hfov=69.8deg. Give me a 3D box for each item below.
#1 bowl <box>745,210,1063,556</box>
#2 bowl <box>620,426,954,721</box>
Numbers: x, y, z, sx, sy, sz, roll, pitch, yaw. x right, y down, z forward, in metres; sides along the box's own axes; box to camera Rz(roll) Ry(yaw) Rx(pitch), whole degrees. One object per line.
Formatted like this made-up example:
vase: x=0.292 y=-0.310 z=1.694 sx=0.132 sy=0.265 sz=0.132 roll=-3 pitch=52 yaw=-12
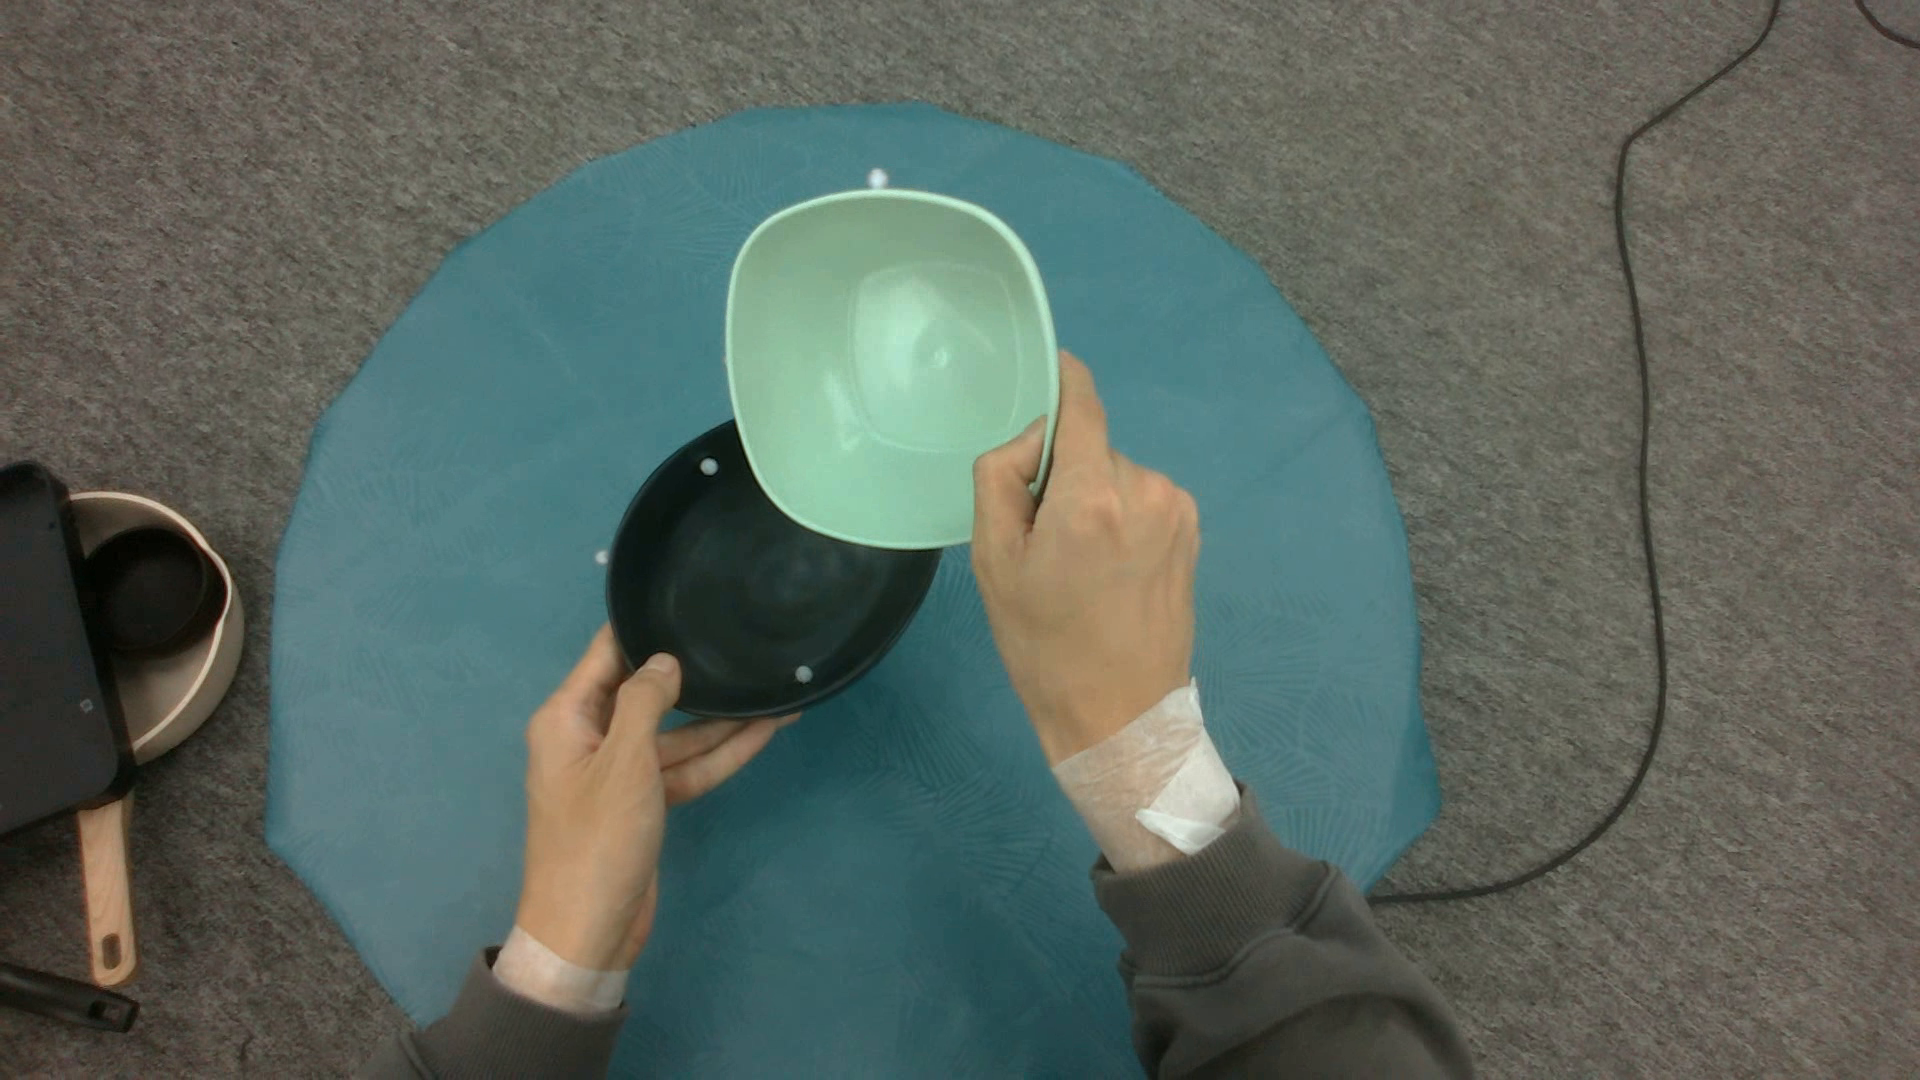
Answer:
bowl: x=-0.015 y=-0.068 z=0.569 sx=0.151 sy=0.059 sz=0.151 roll=8 pitch=111 yaw=22
bowl: x=-0.080 y=0.017 z=0.665 sx=0.137 sy=0.066 sz=0.171 roll=42 pitch=72 yaw=12
